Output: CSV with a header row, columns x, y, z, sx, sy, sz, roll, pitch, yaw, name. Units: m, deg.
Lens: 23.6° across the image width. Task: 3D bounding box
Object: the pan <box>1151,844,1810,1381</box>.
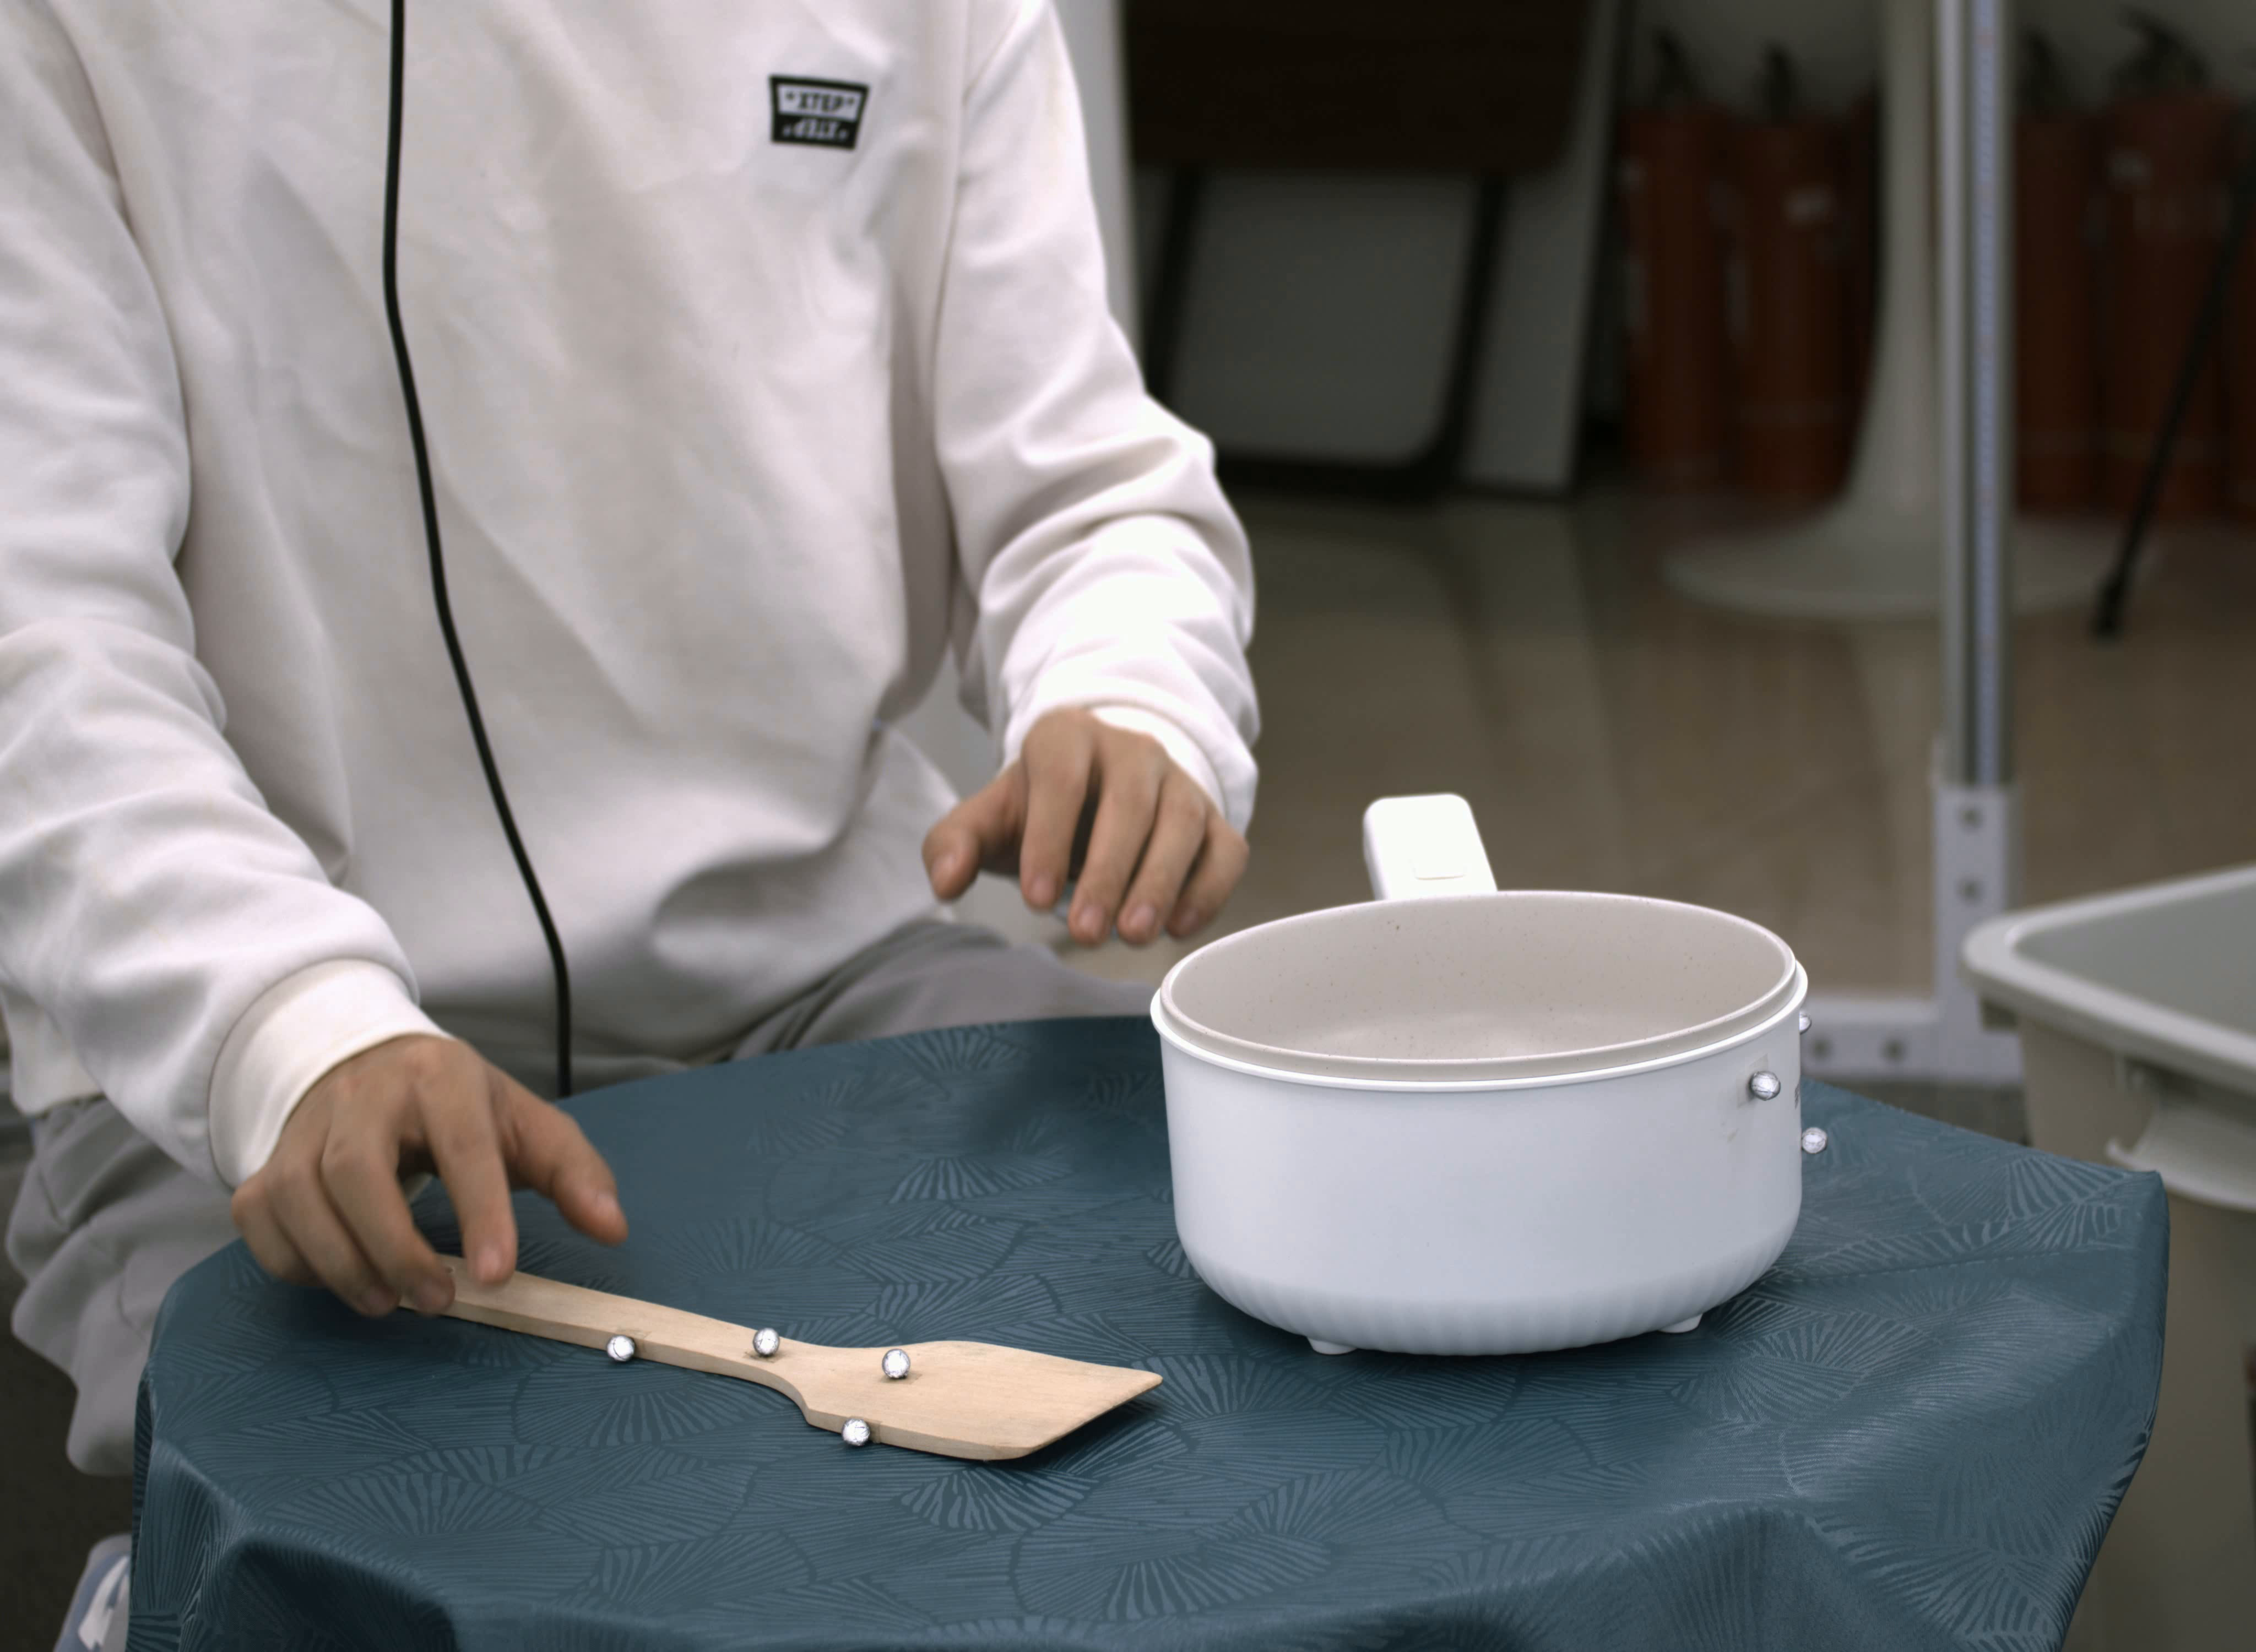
x,y,z,sx,sy,sz,roll,pitch,yaw,name
0.109,0.085,1.723,0.199,0.103,0.355,-8,10,0,pan
